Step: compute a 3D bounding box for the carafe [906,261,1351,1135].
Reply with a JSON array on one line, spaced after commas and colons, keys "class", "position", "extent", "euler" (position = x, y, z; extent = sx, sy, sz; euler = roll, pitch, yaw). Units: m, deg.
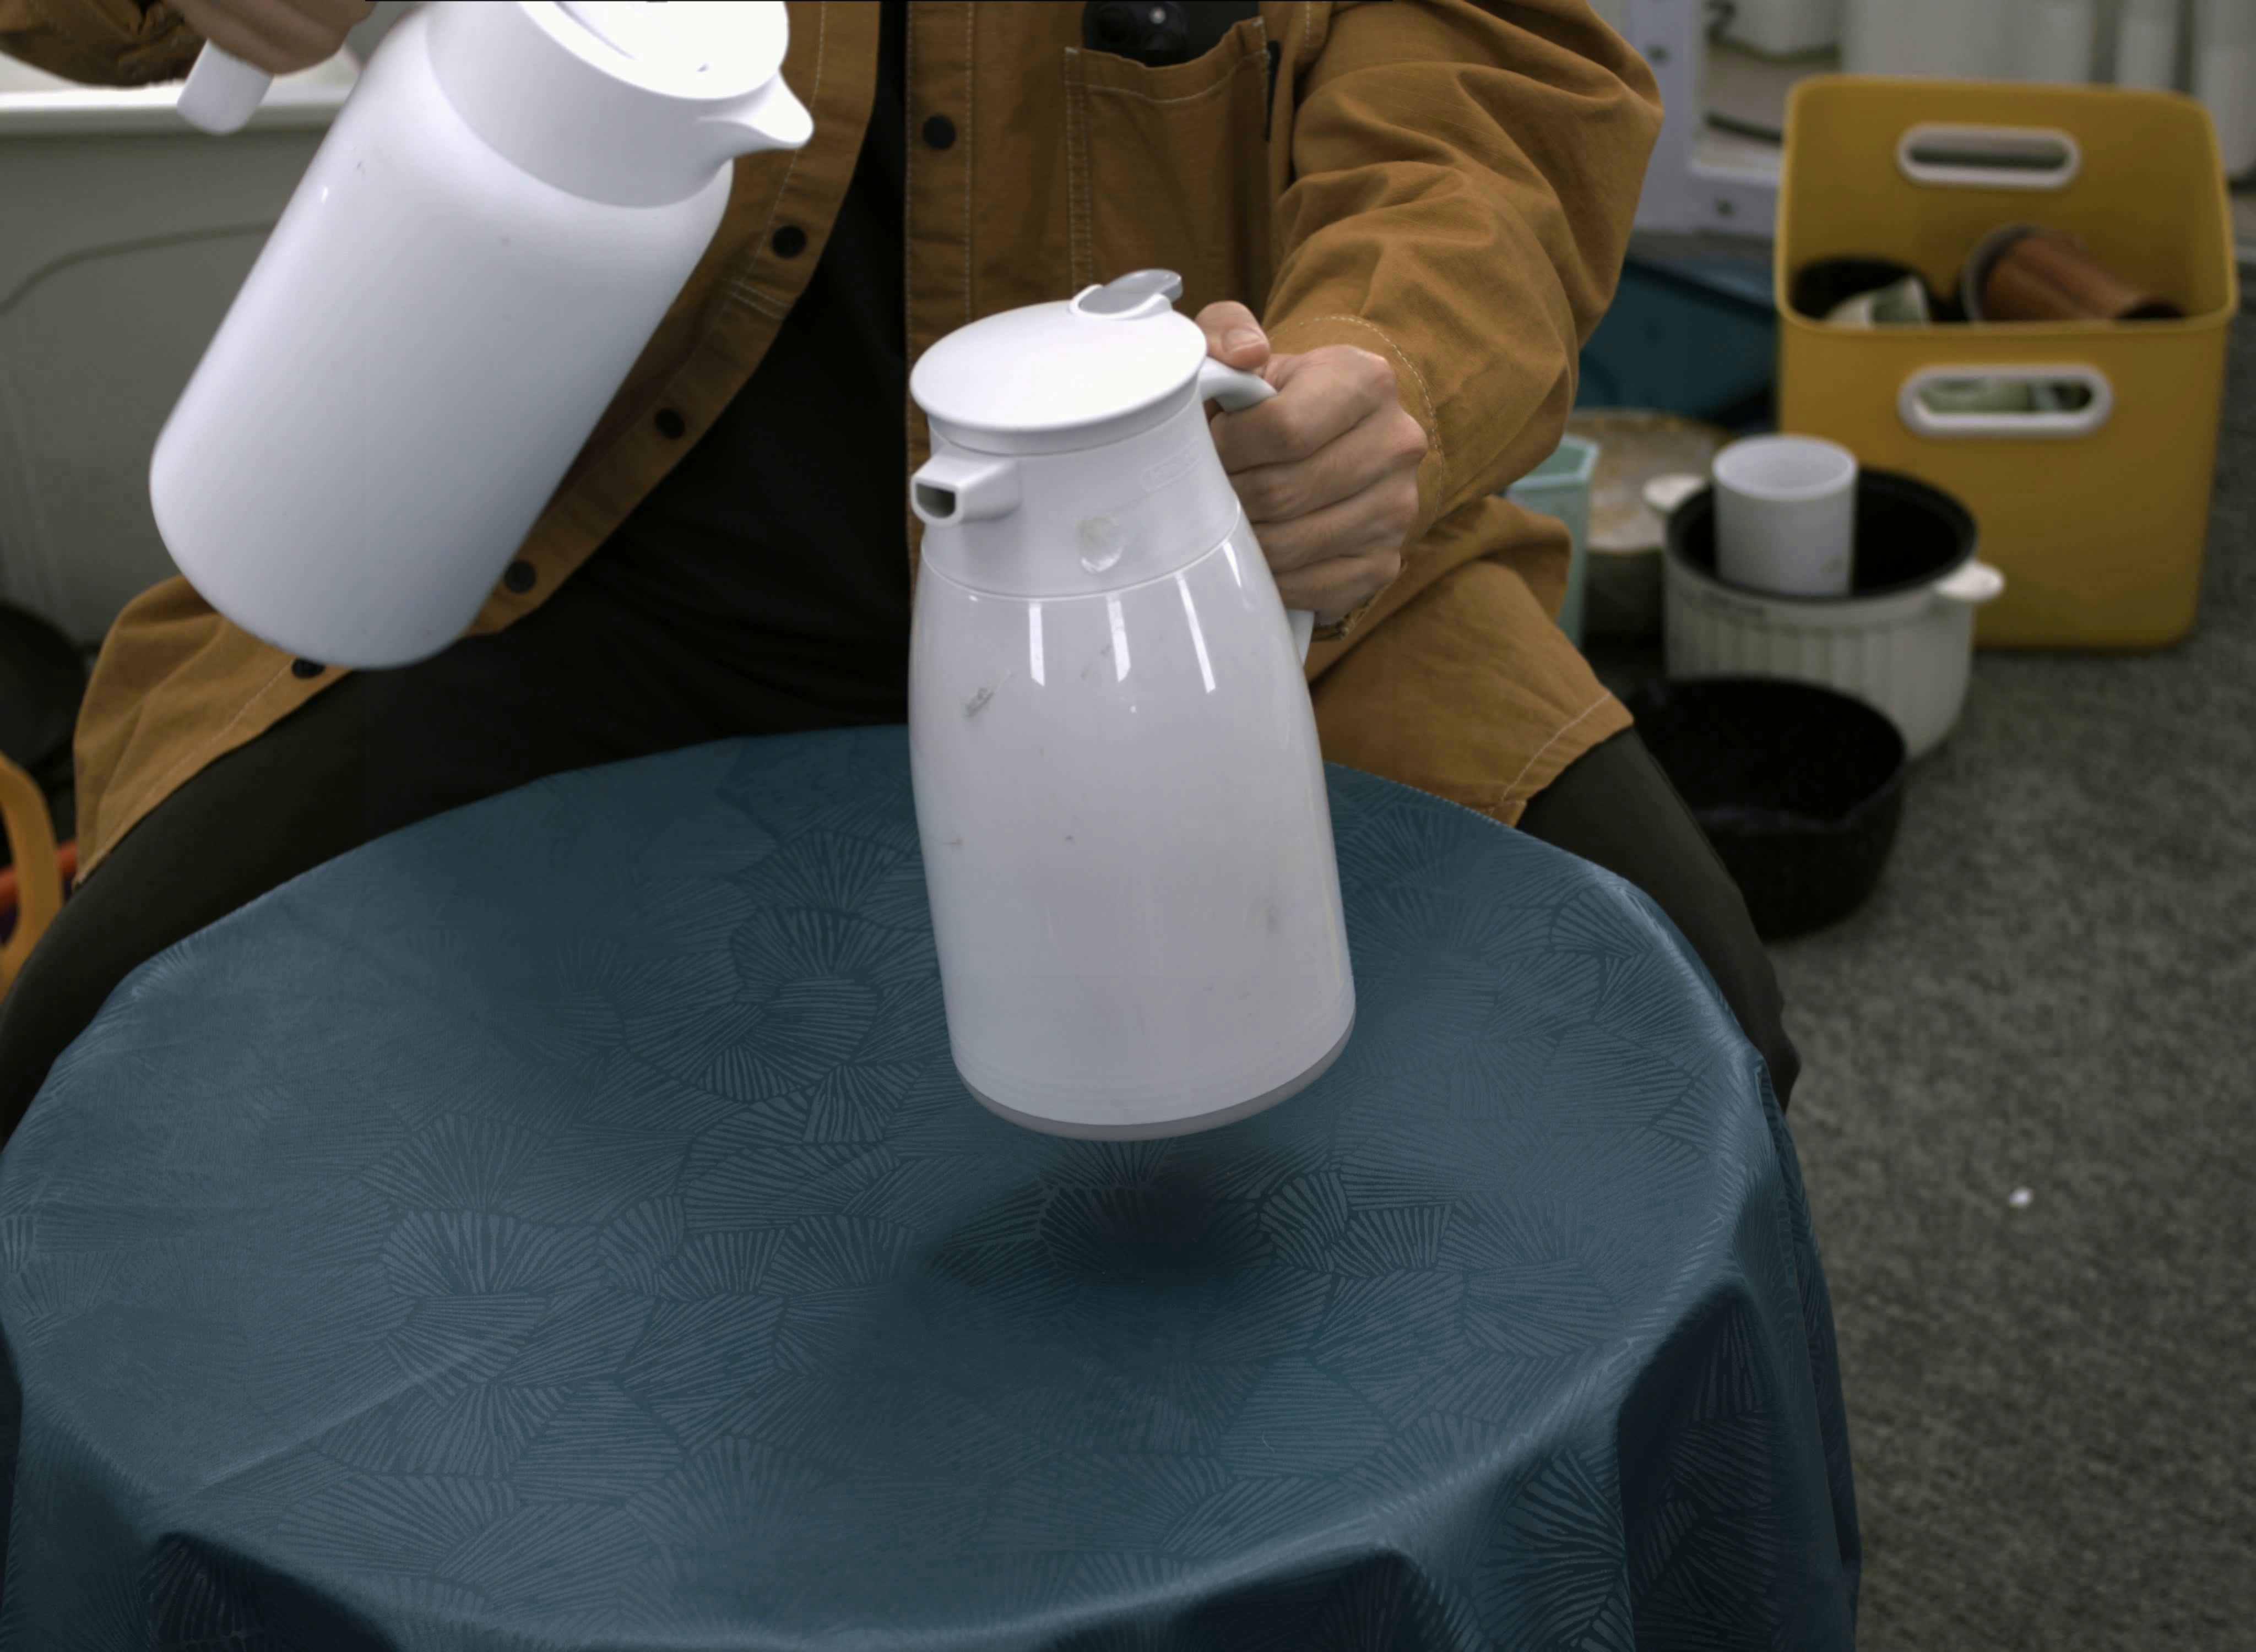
[{"class": "carafe", "position": [0.003, -0.051, 1.776], "extent": [0.132, 0.246, 0.170], "euler": [13, 33, 36]}]

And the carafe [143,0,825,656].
[{"class": "carafe", "position": [-0.220, -0.187, 1.758], "extent": [0.172, 0.264, 0.126], "euler": [37, 40, -1]}]
